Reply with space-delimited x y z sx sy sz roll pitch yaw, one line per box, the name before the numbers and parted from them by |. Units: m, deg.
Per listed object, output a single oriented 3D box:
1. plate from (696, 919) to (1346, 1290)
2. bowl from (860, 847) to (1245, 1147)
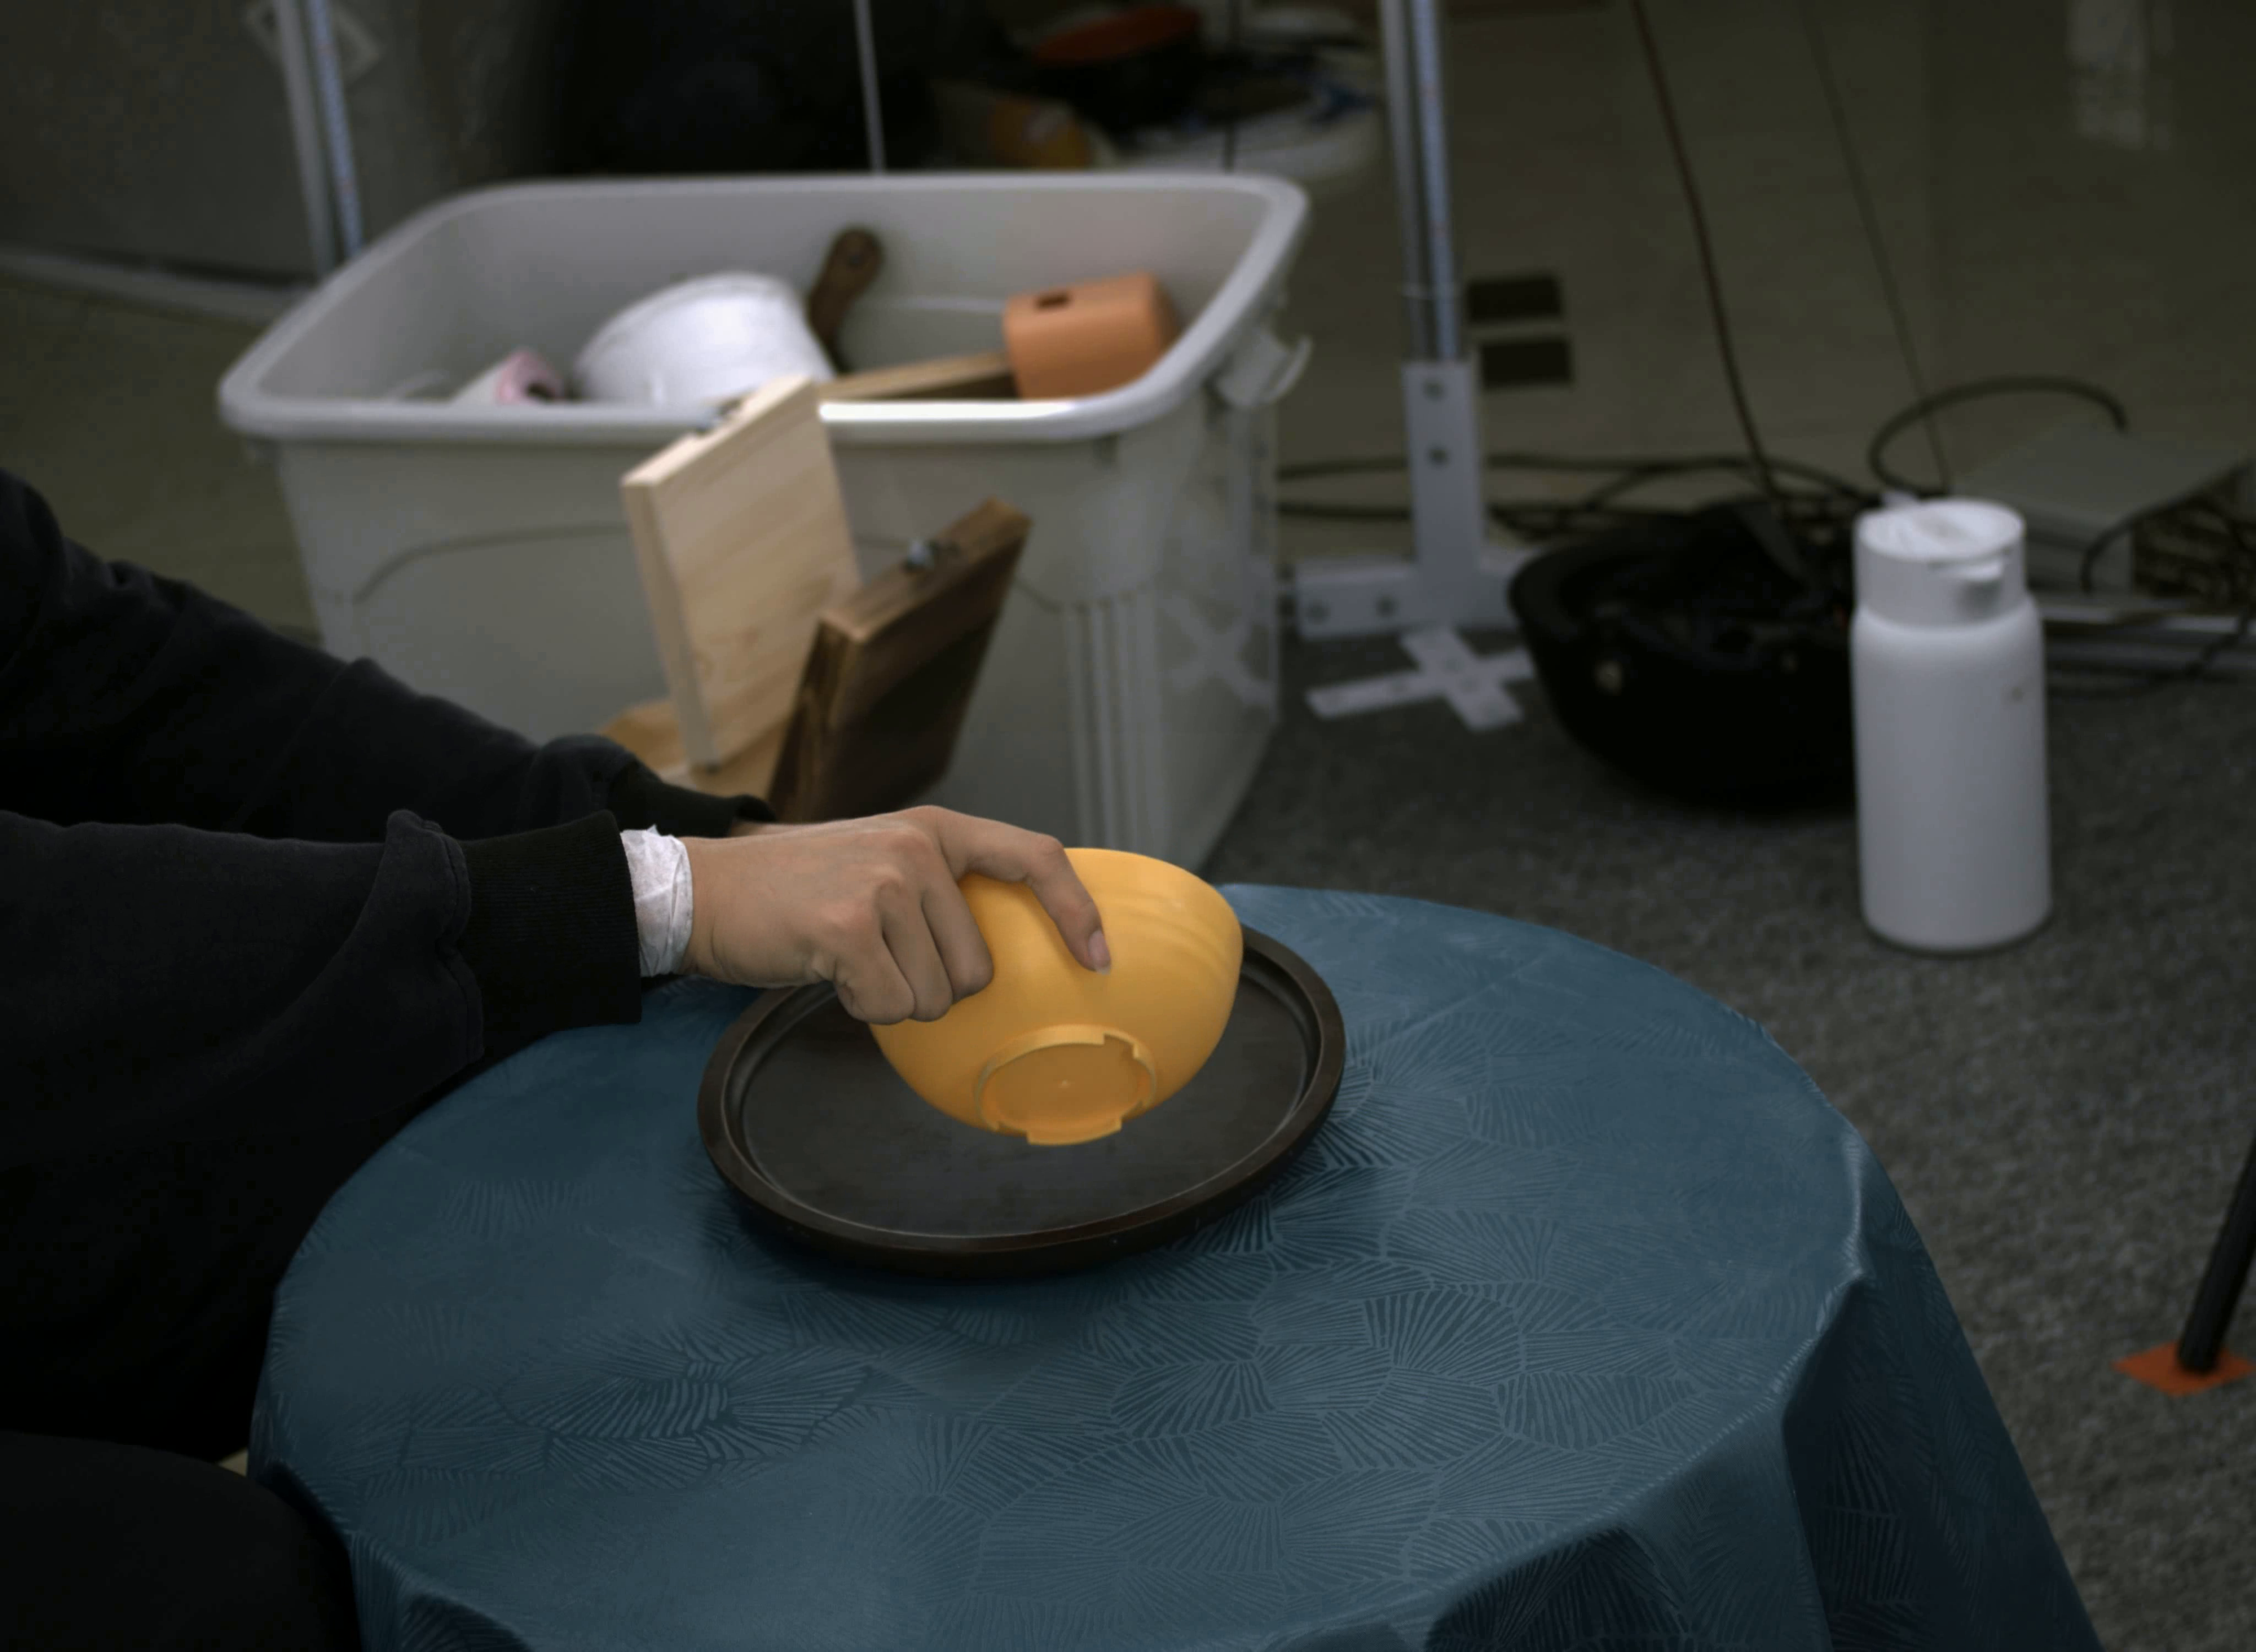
plate | -0.041 0.101 2.193 0.254 0.029 0.250 -6 32 4
bowl | -0.023 0.075 2.067 0.145 0.148 0.059 -8 54 -5
